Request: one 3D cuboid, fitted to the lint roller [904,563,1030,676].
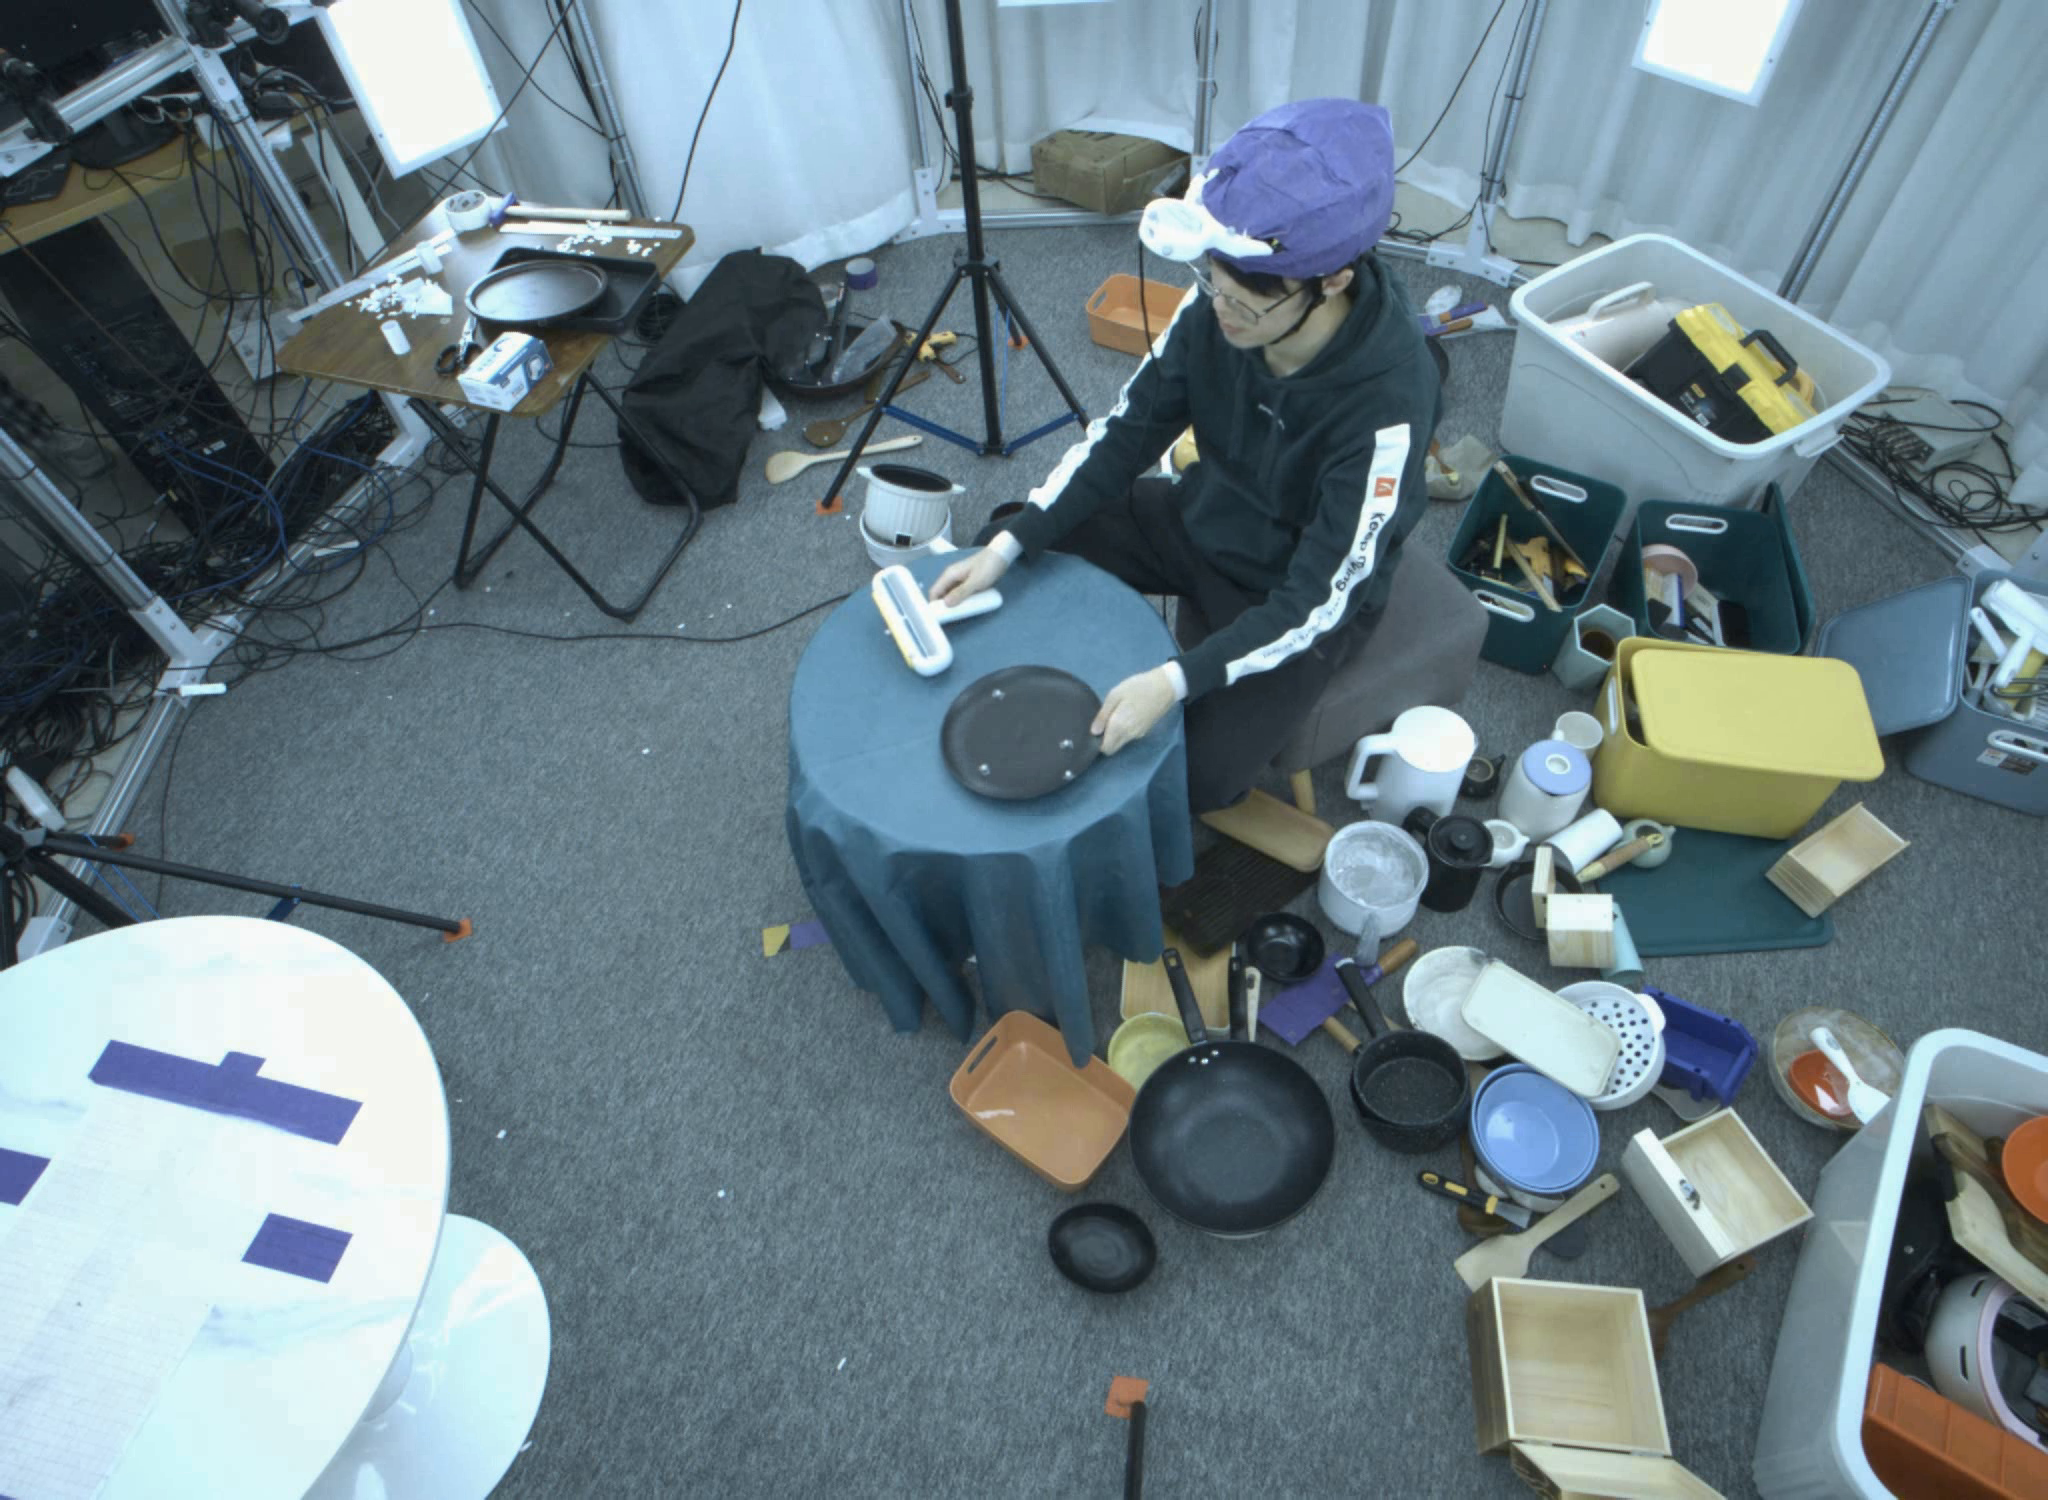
[{"bbox_3d":[-0.077,-0.208,1.913,0.195,0.074,0.190,-12,63,-22],"label":"lint roller"}]

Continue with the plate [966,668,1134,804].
[{"bbox_3d":[0.038,-0.019,1.771,0.243,0.024,0.242,-3,53,6],"label":"plate"}]
